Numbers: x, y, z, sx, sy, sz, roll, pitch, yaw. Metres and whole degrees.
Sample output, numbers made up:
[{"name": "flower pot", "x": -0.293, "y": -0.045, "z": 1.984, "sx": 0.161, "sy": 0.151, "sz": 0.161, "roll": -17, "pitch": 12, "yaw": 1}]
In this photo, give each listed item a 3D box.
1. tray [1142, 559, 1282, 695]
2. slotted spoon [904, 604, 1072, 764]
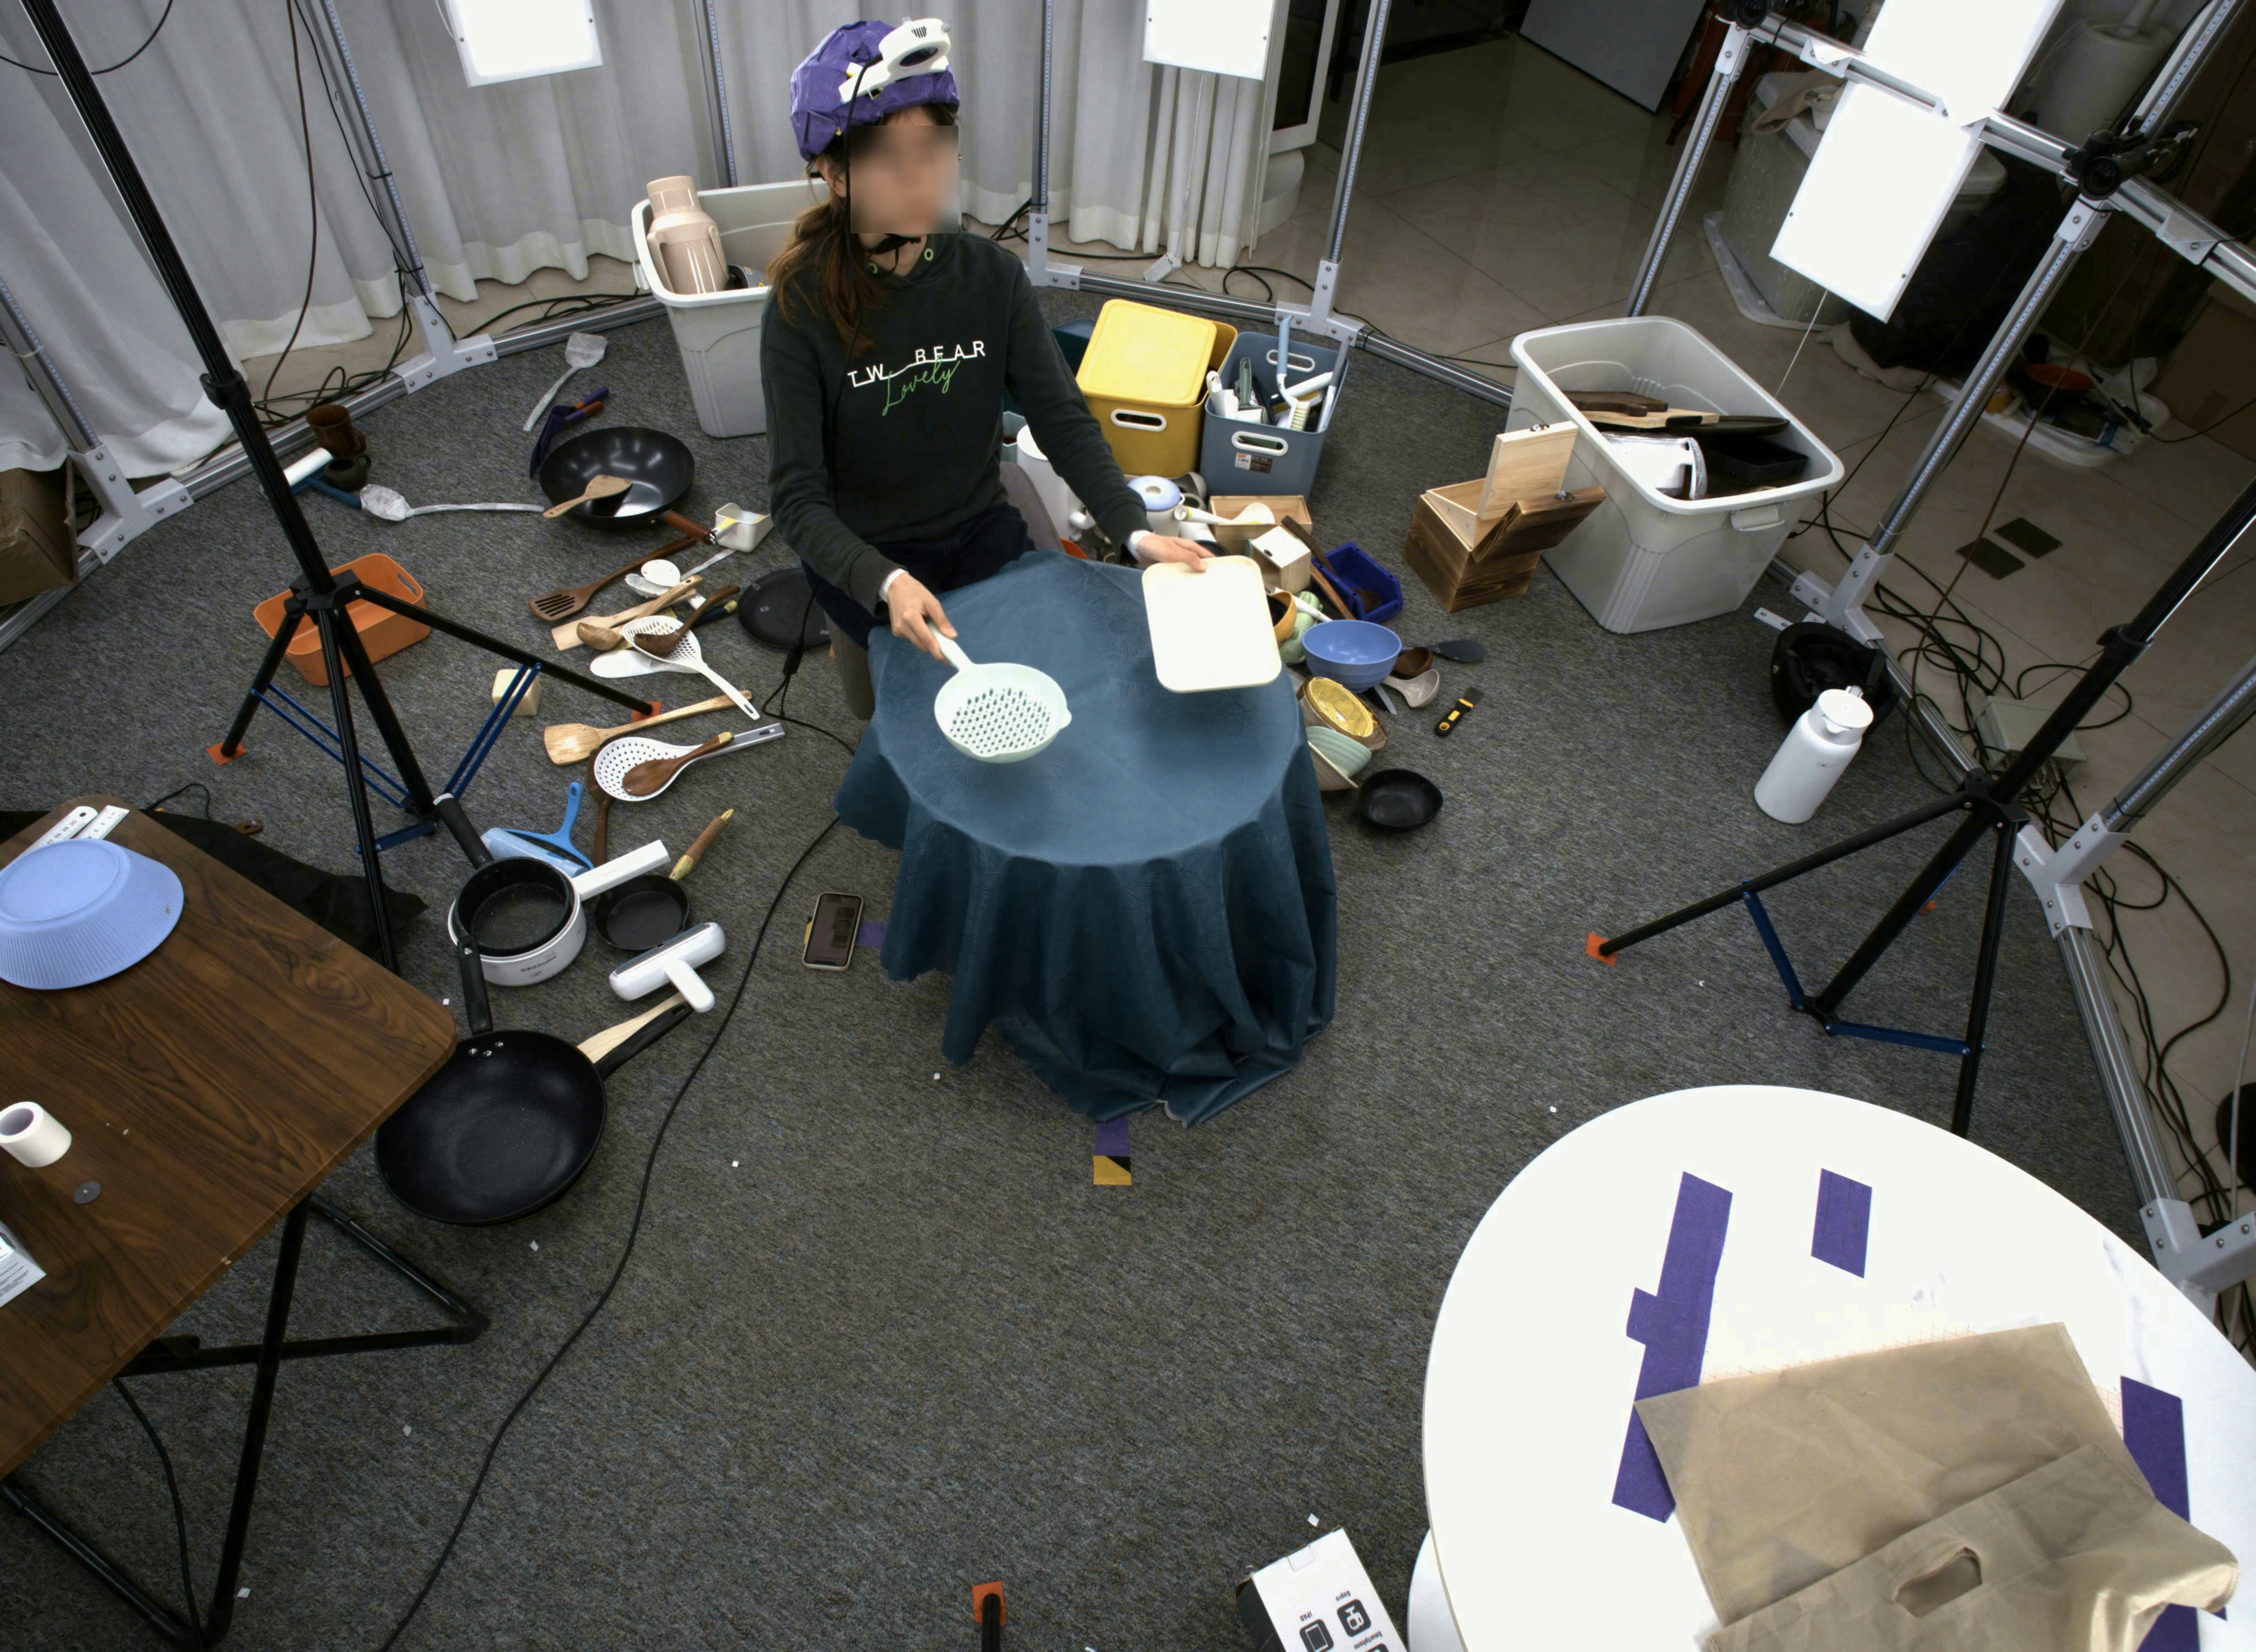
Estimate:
[{"name": "tray", "x": 0.115, "y": -0.280, "z": 1.801, "sx": 0.171, "sy": 0.017, "sz": 0.245, "roll": -6, "pitch": 54, "yaw": -2}, {"name": "slotted spoon", "x": -0.217, "y": -0.206, "z": 1.726, "sx": 0.170, "sy": 0.073, "sz": 0.366, "roll": -21, "pitch": 58, "yaw": -25}]
